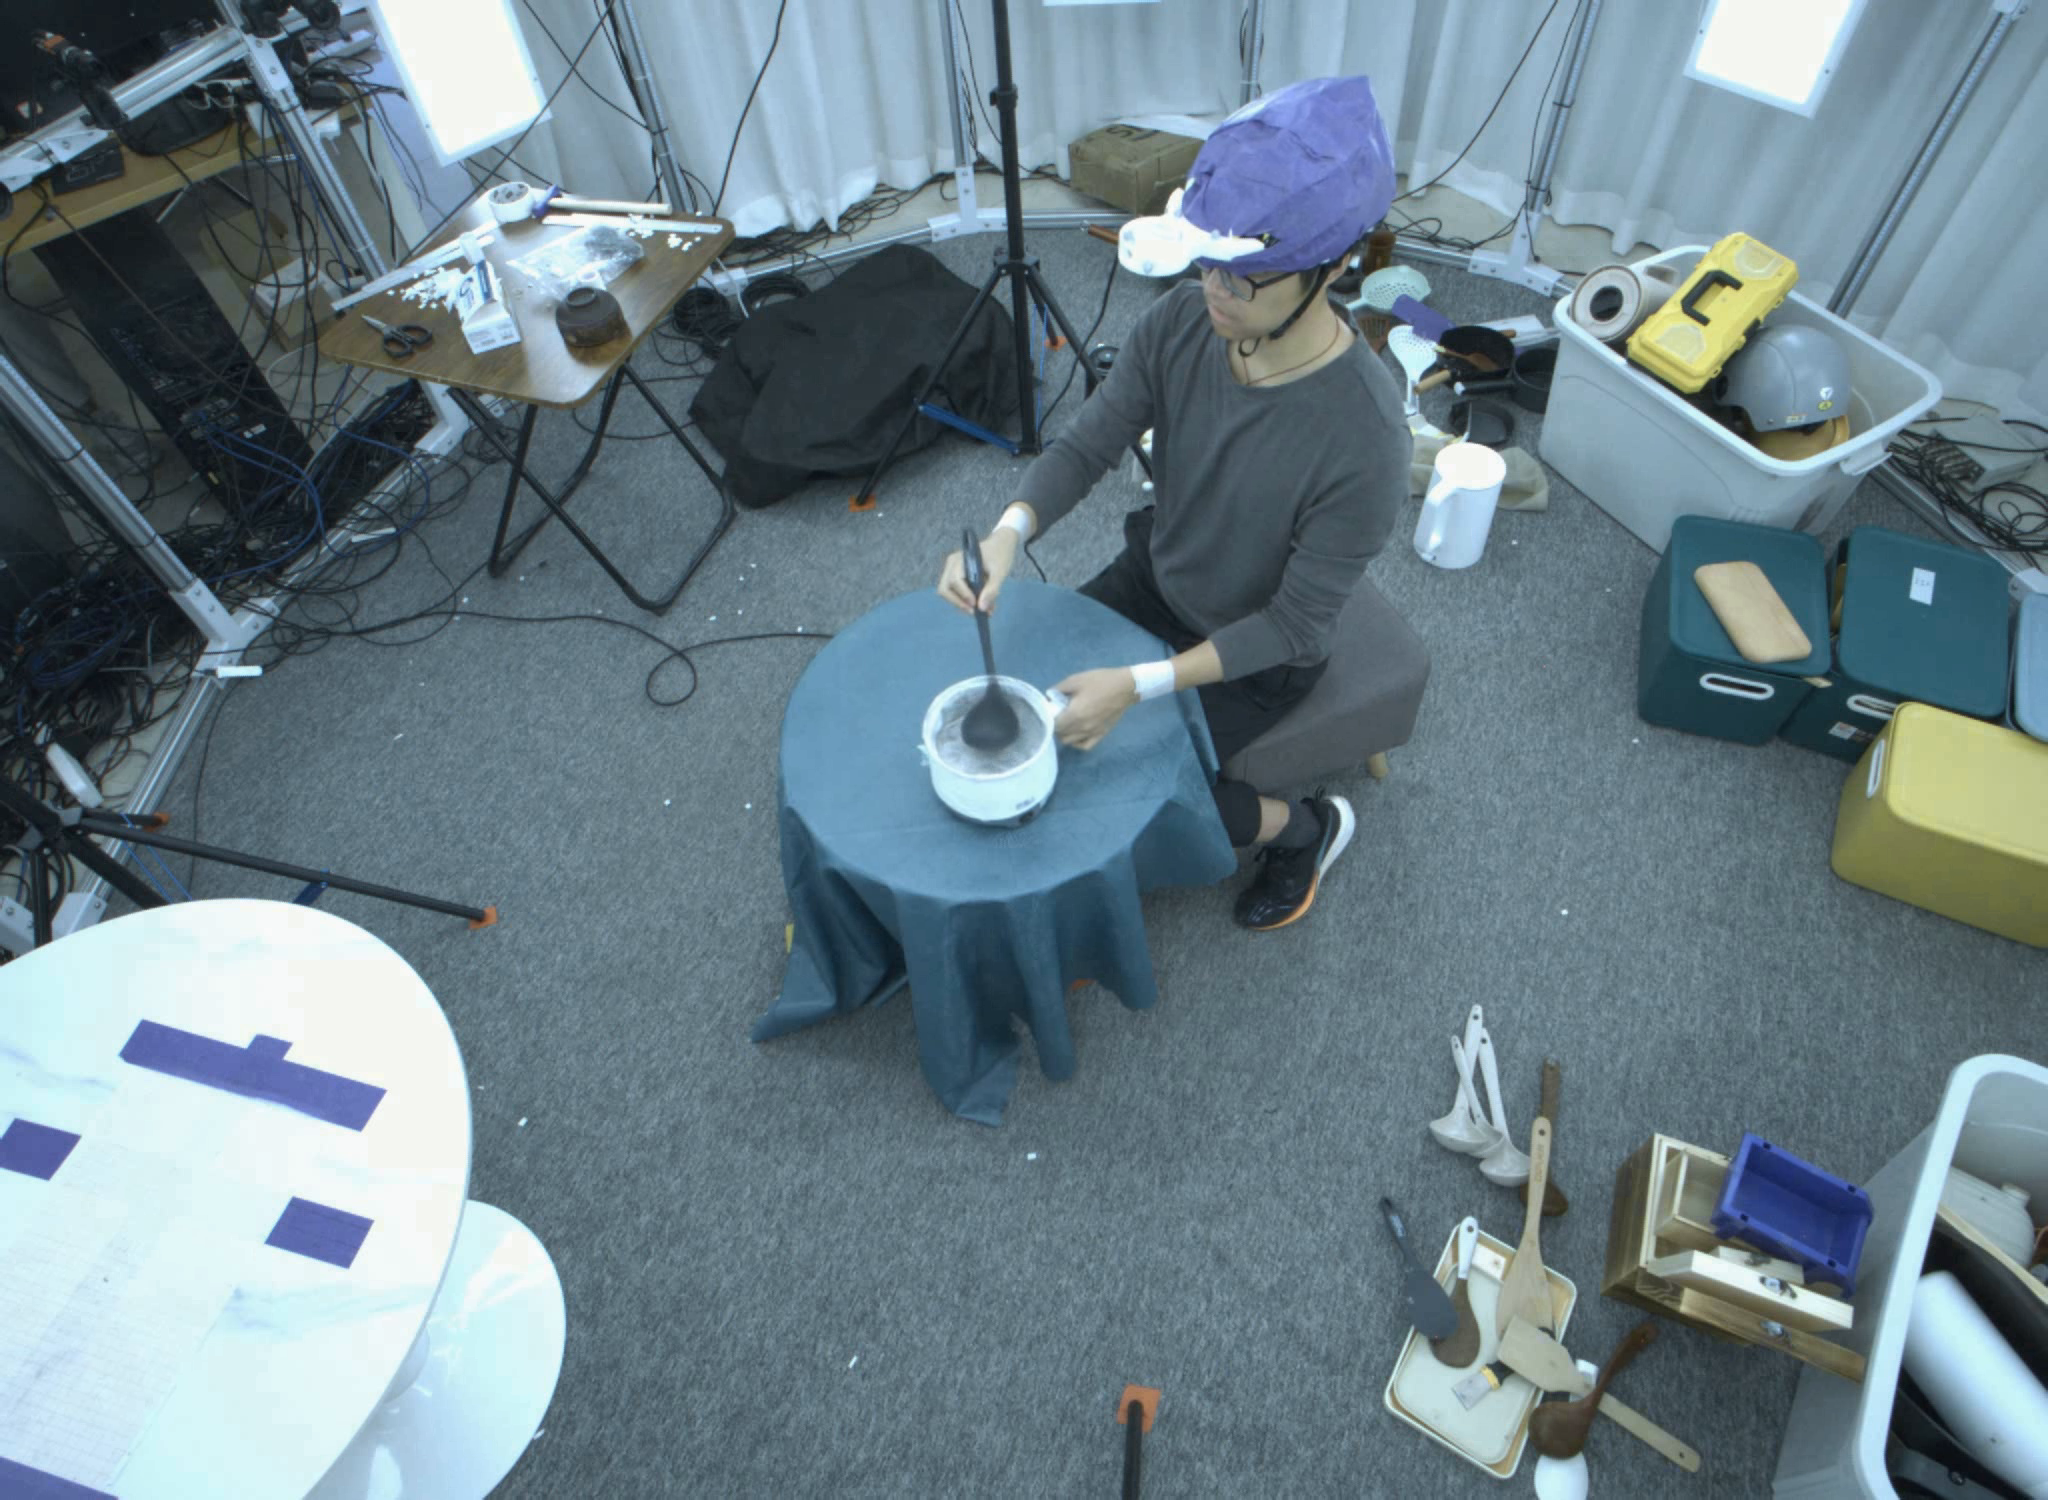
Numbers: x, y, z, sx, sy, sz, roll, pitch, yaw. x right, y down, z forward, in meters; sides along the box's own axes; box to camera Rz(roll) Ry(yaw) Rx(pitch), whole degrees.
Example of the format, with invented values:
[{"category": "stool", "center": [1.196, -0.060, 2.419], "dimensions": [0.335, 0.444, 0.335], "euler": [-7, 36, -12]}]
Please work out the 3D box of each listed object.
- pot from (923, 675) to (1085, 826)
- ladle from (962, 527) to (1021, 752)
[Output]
[{"category": "pot", "center": [-0.021, -0.009, 1.717], "dimensions": [0.235, 0.138, 0.175], "euler": [-28, 58, -17]}, {"category": "ladle", "center": [-0.059, -0.141, 1.638], "dimensions": [0.085, 0.318, 0.064], "euler": [1, 33, 14]}]
